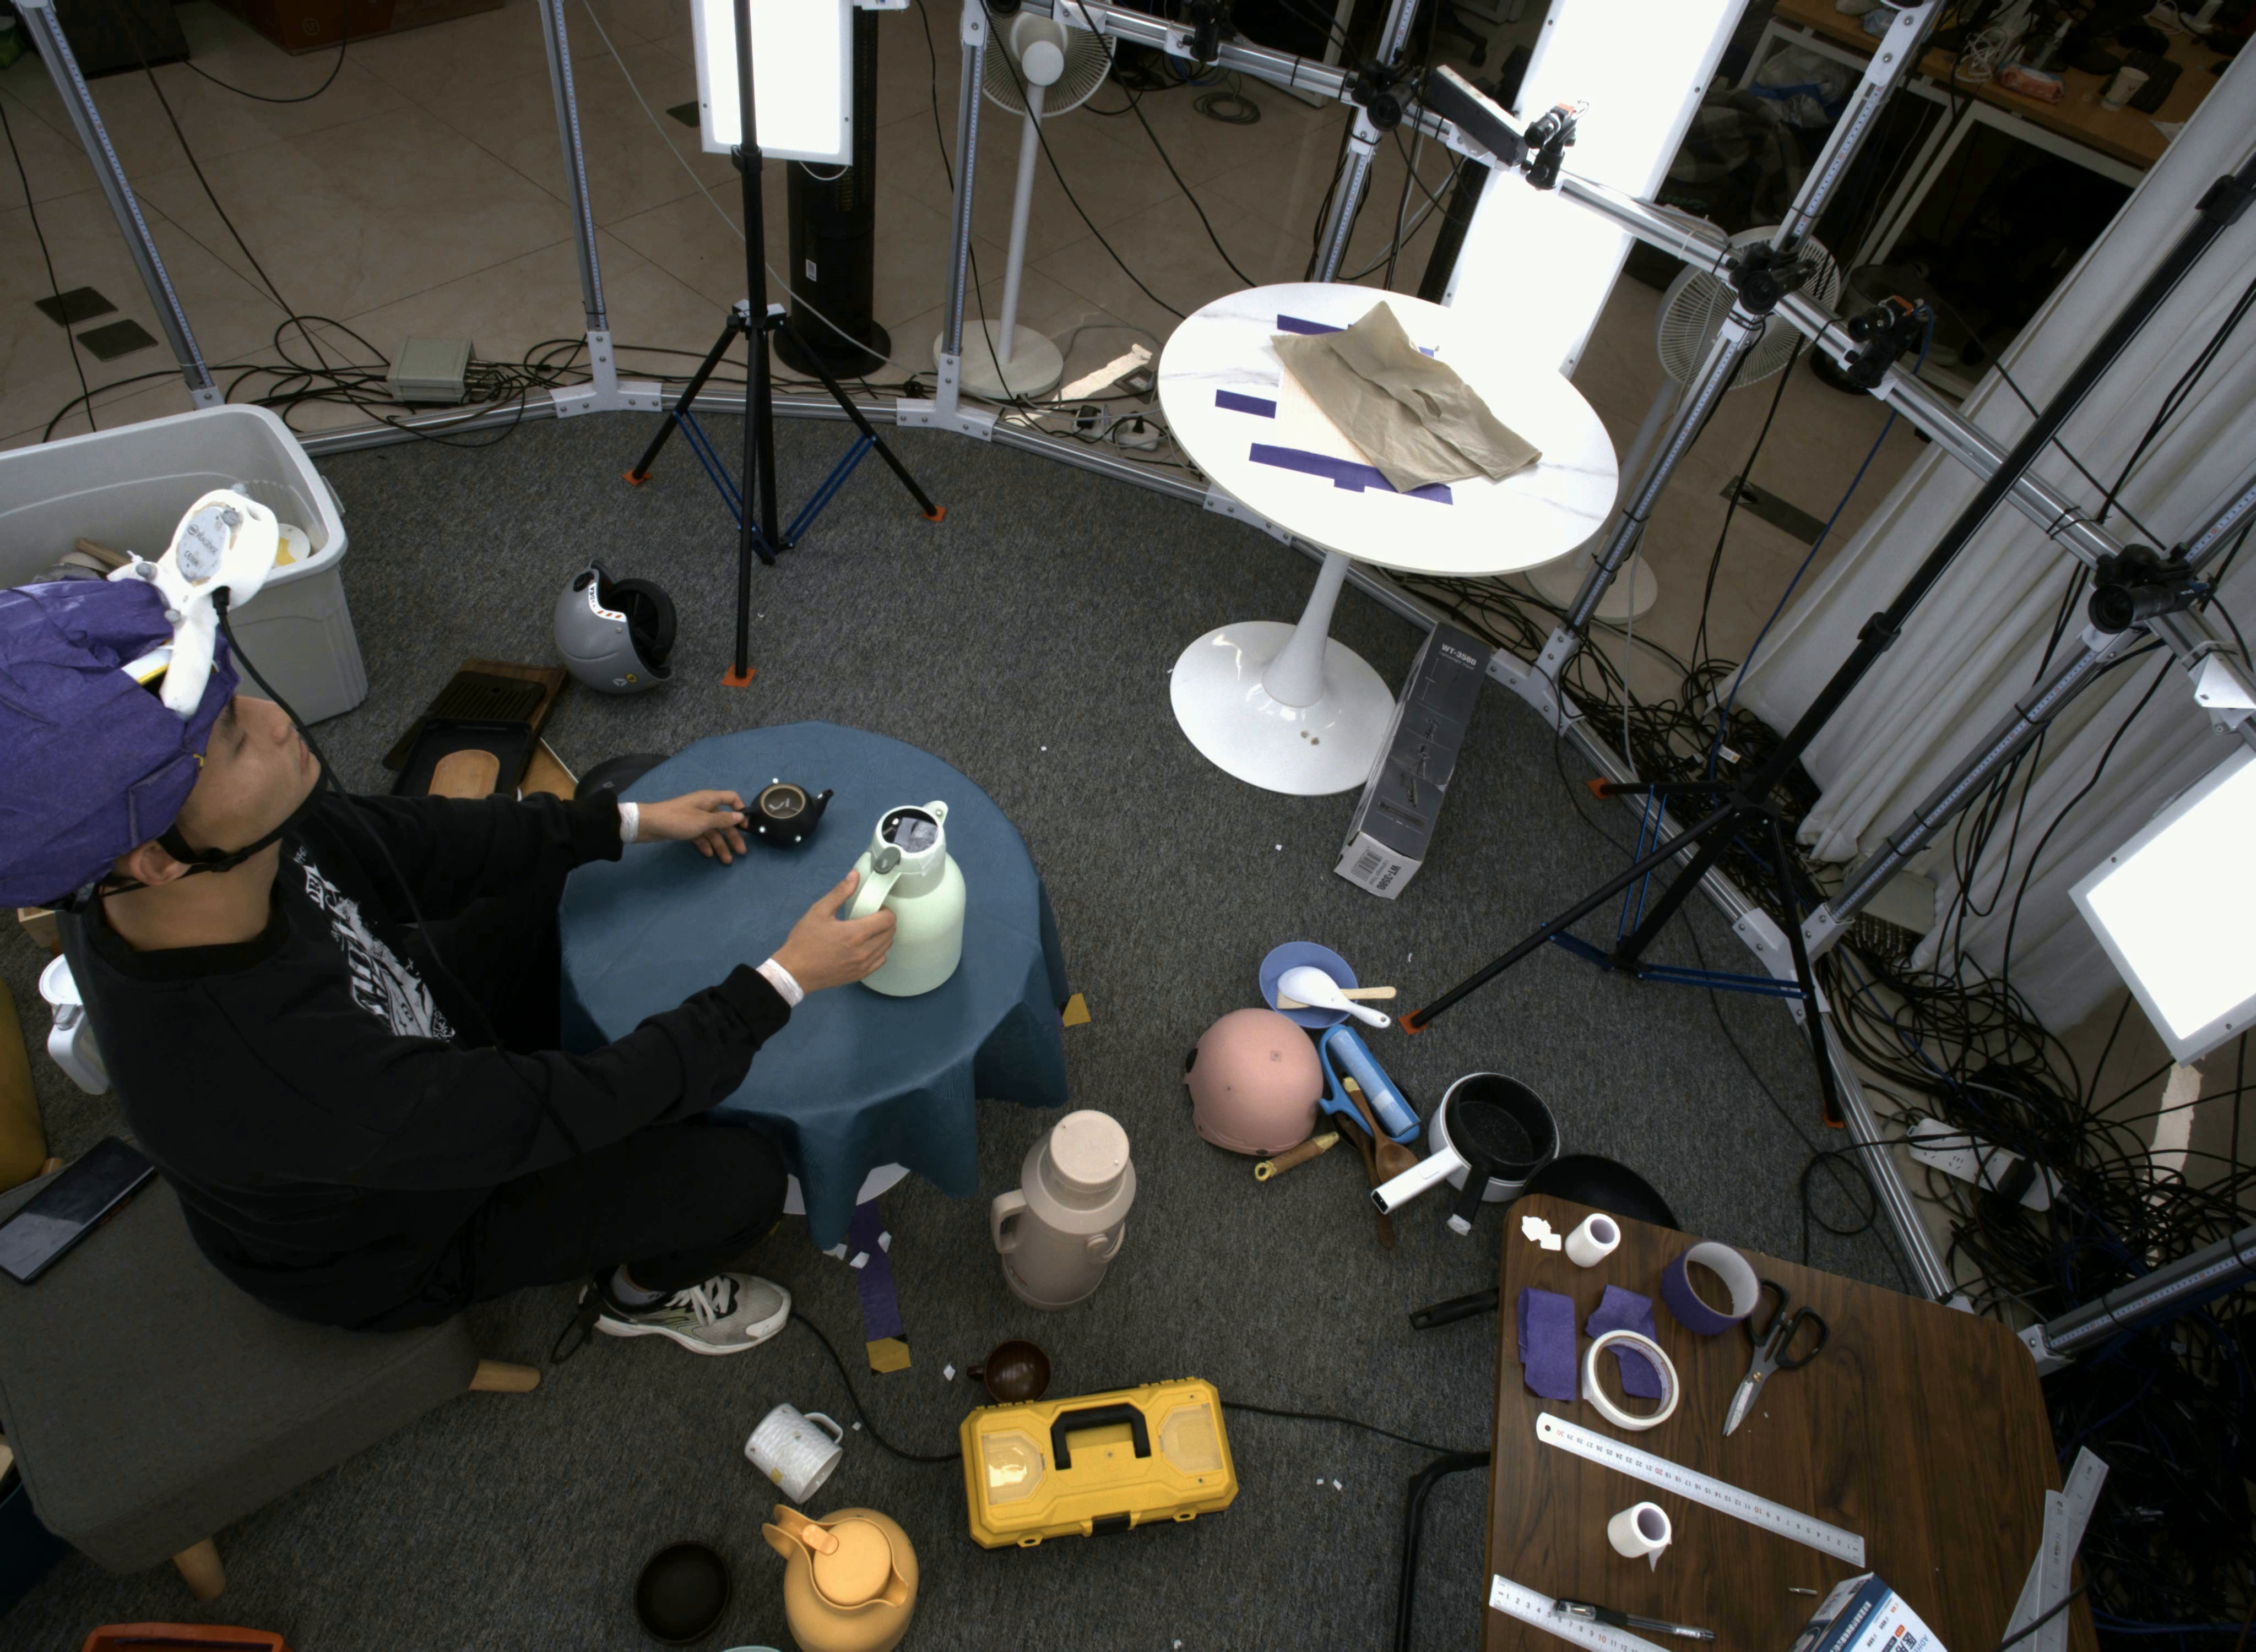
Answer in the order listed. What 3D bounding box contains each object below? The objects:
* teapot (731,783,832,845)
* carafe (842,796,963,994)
[{"bbox_3d":[-0.451,-0.018,1.693,0.134,0.054,0.088,-14,56,-23],"label":"teapot"},{"bbox_3d":[-0.272,0.087,1.534,0.142,0.261,0.186,26,55,7],"label":"carafe"}]
